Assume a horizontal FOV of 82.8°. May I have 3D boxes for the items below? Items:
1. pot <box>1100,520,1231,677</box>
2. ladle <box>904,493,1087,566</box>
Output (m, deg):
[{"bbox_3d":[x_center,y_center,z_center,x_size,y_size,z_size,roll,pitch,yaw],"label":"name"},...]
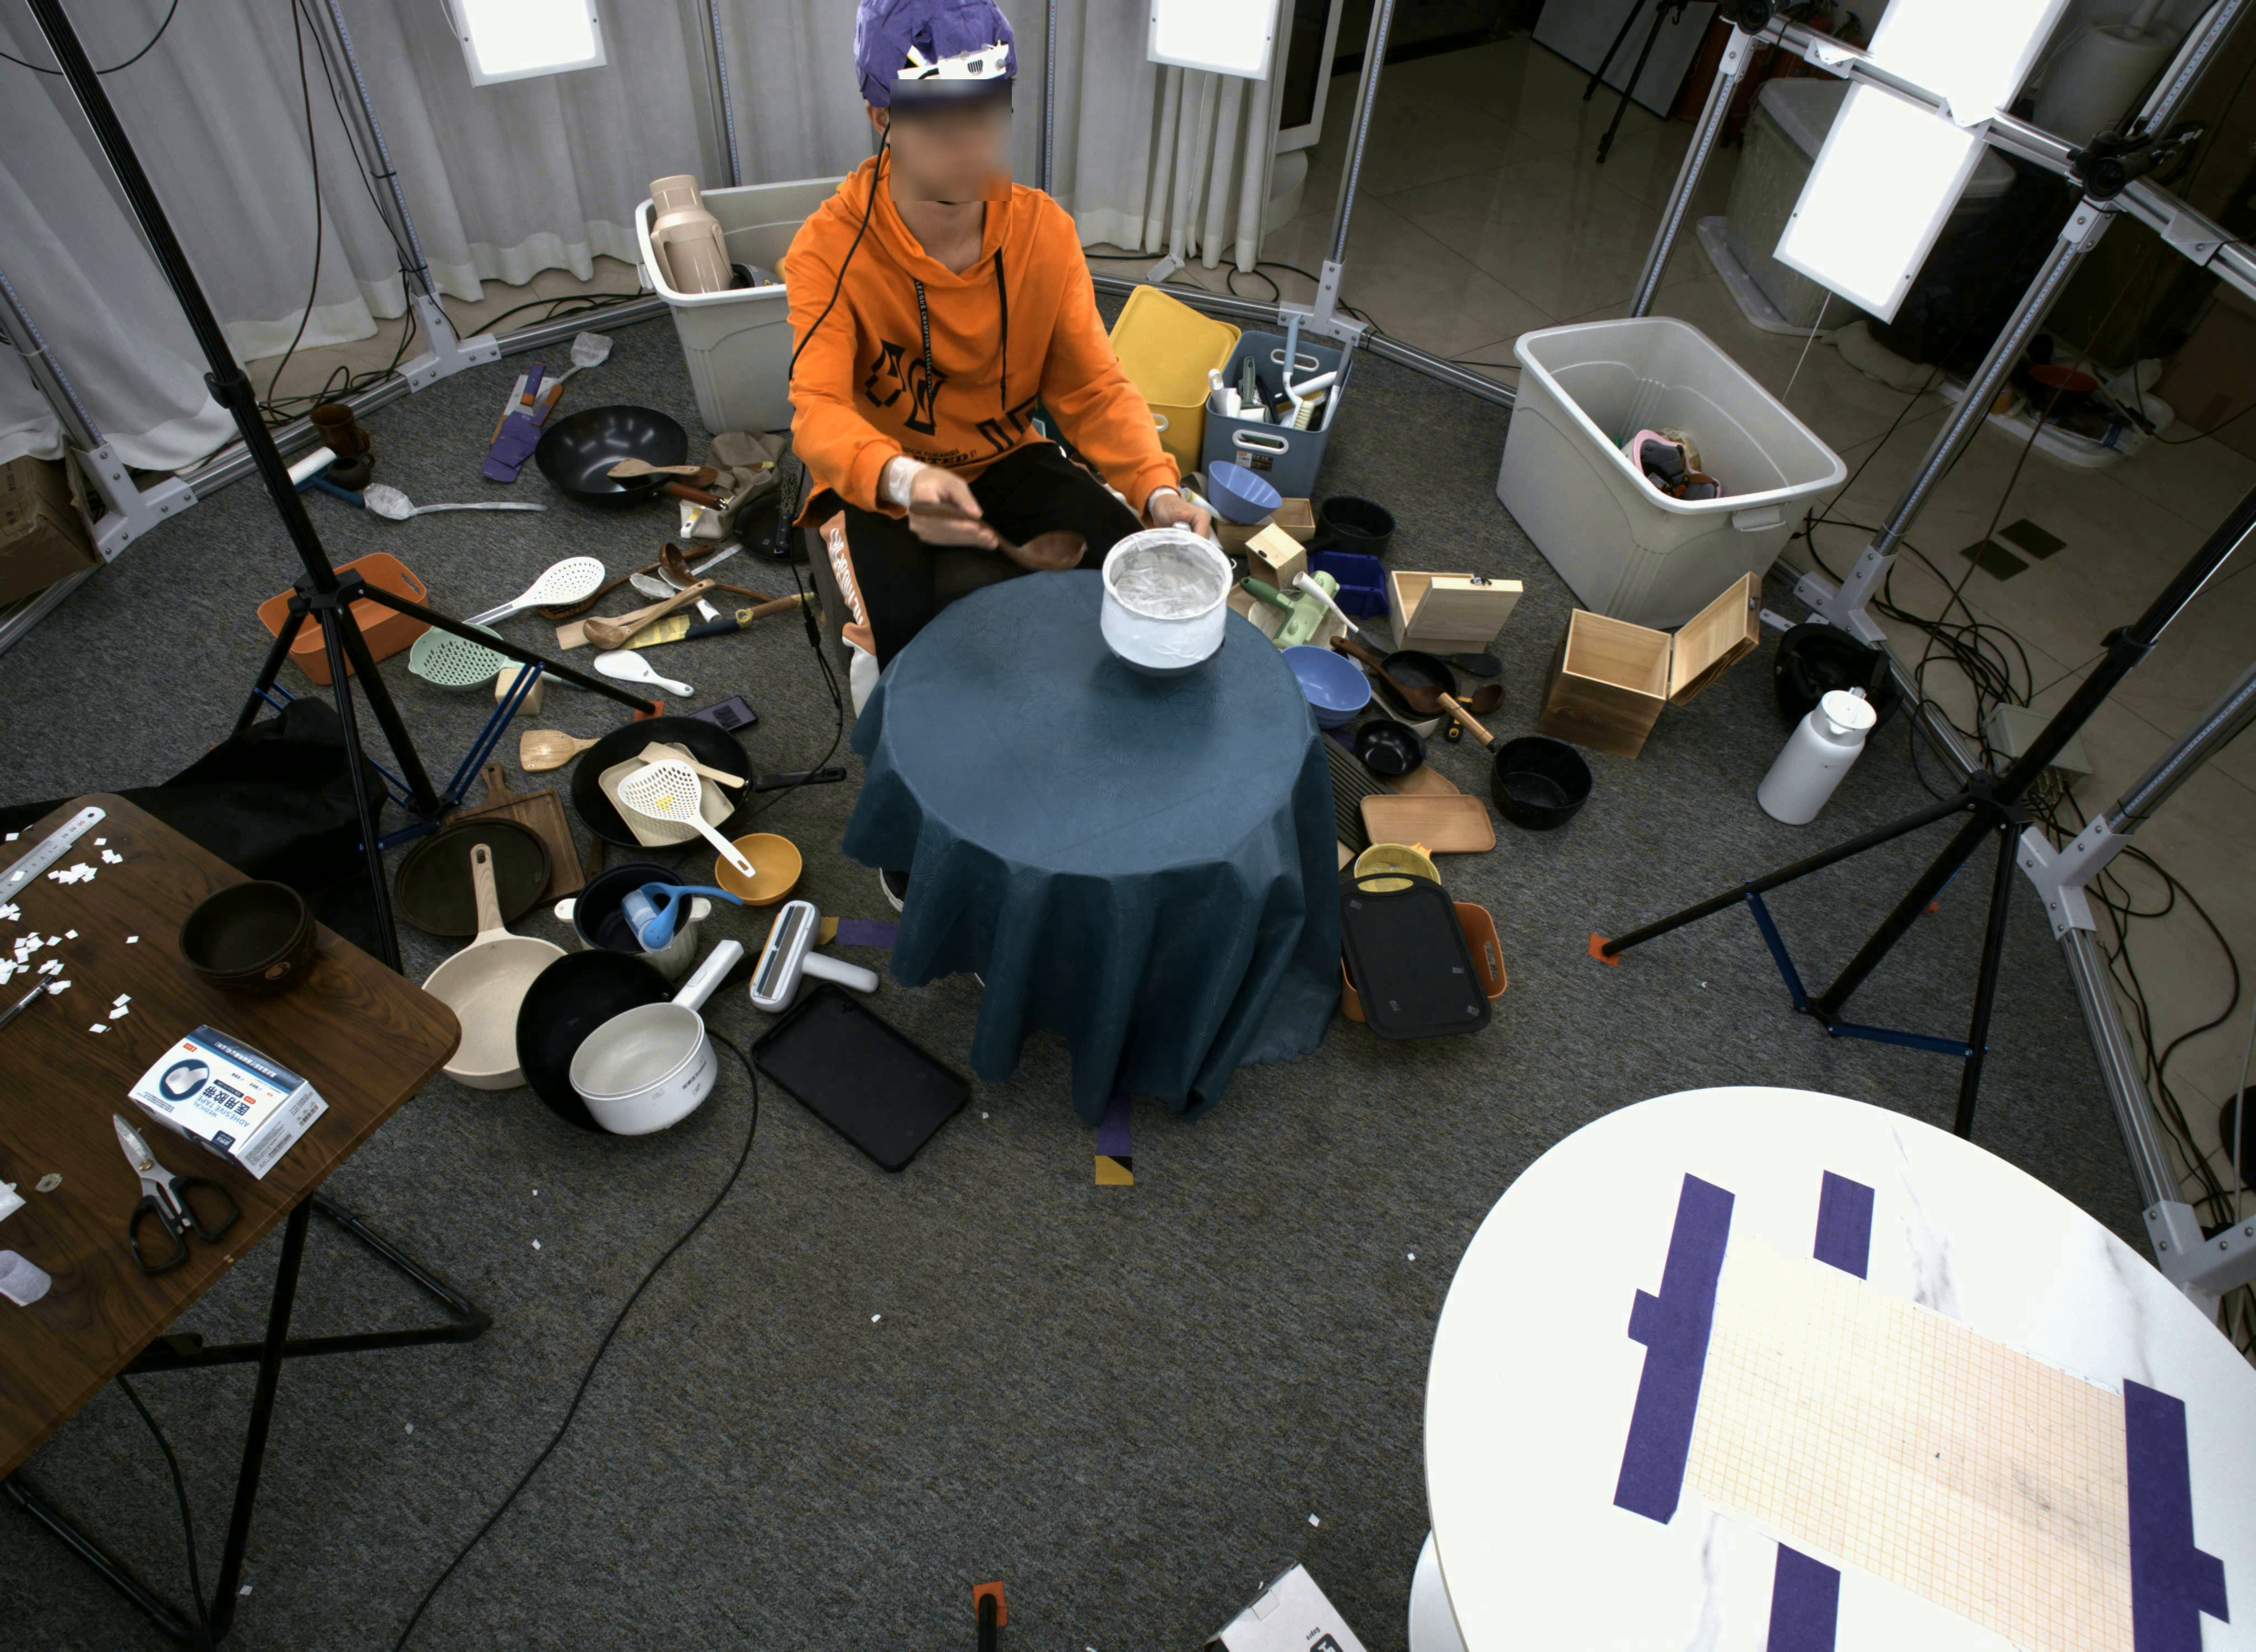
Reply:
[{"bbox_3d":[0.054,-0.330,1.810,0.179,0.133,0.239,10,54,4],"label":"pot"},{"bbox_3d":[-0.157,-0.376,1.581,0.257,0.065,0.078,15,14,-45],"label":"ladle"}]
